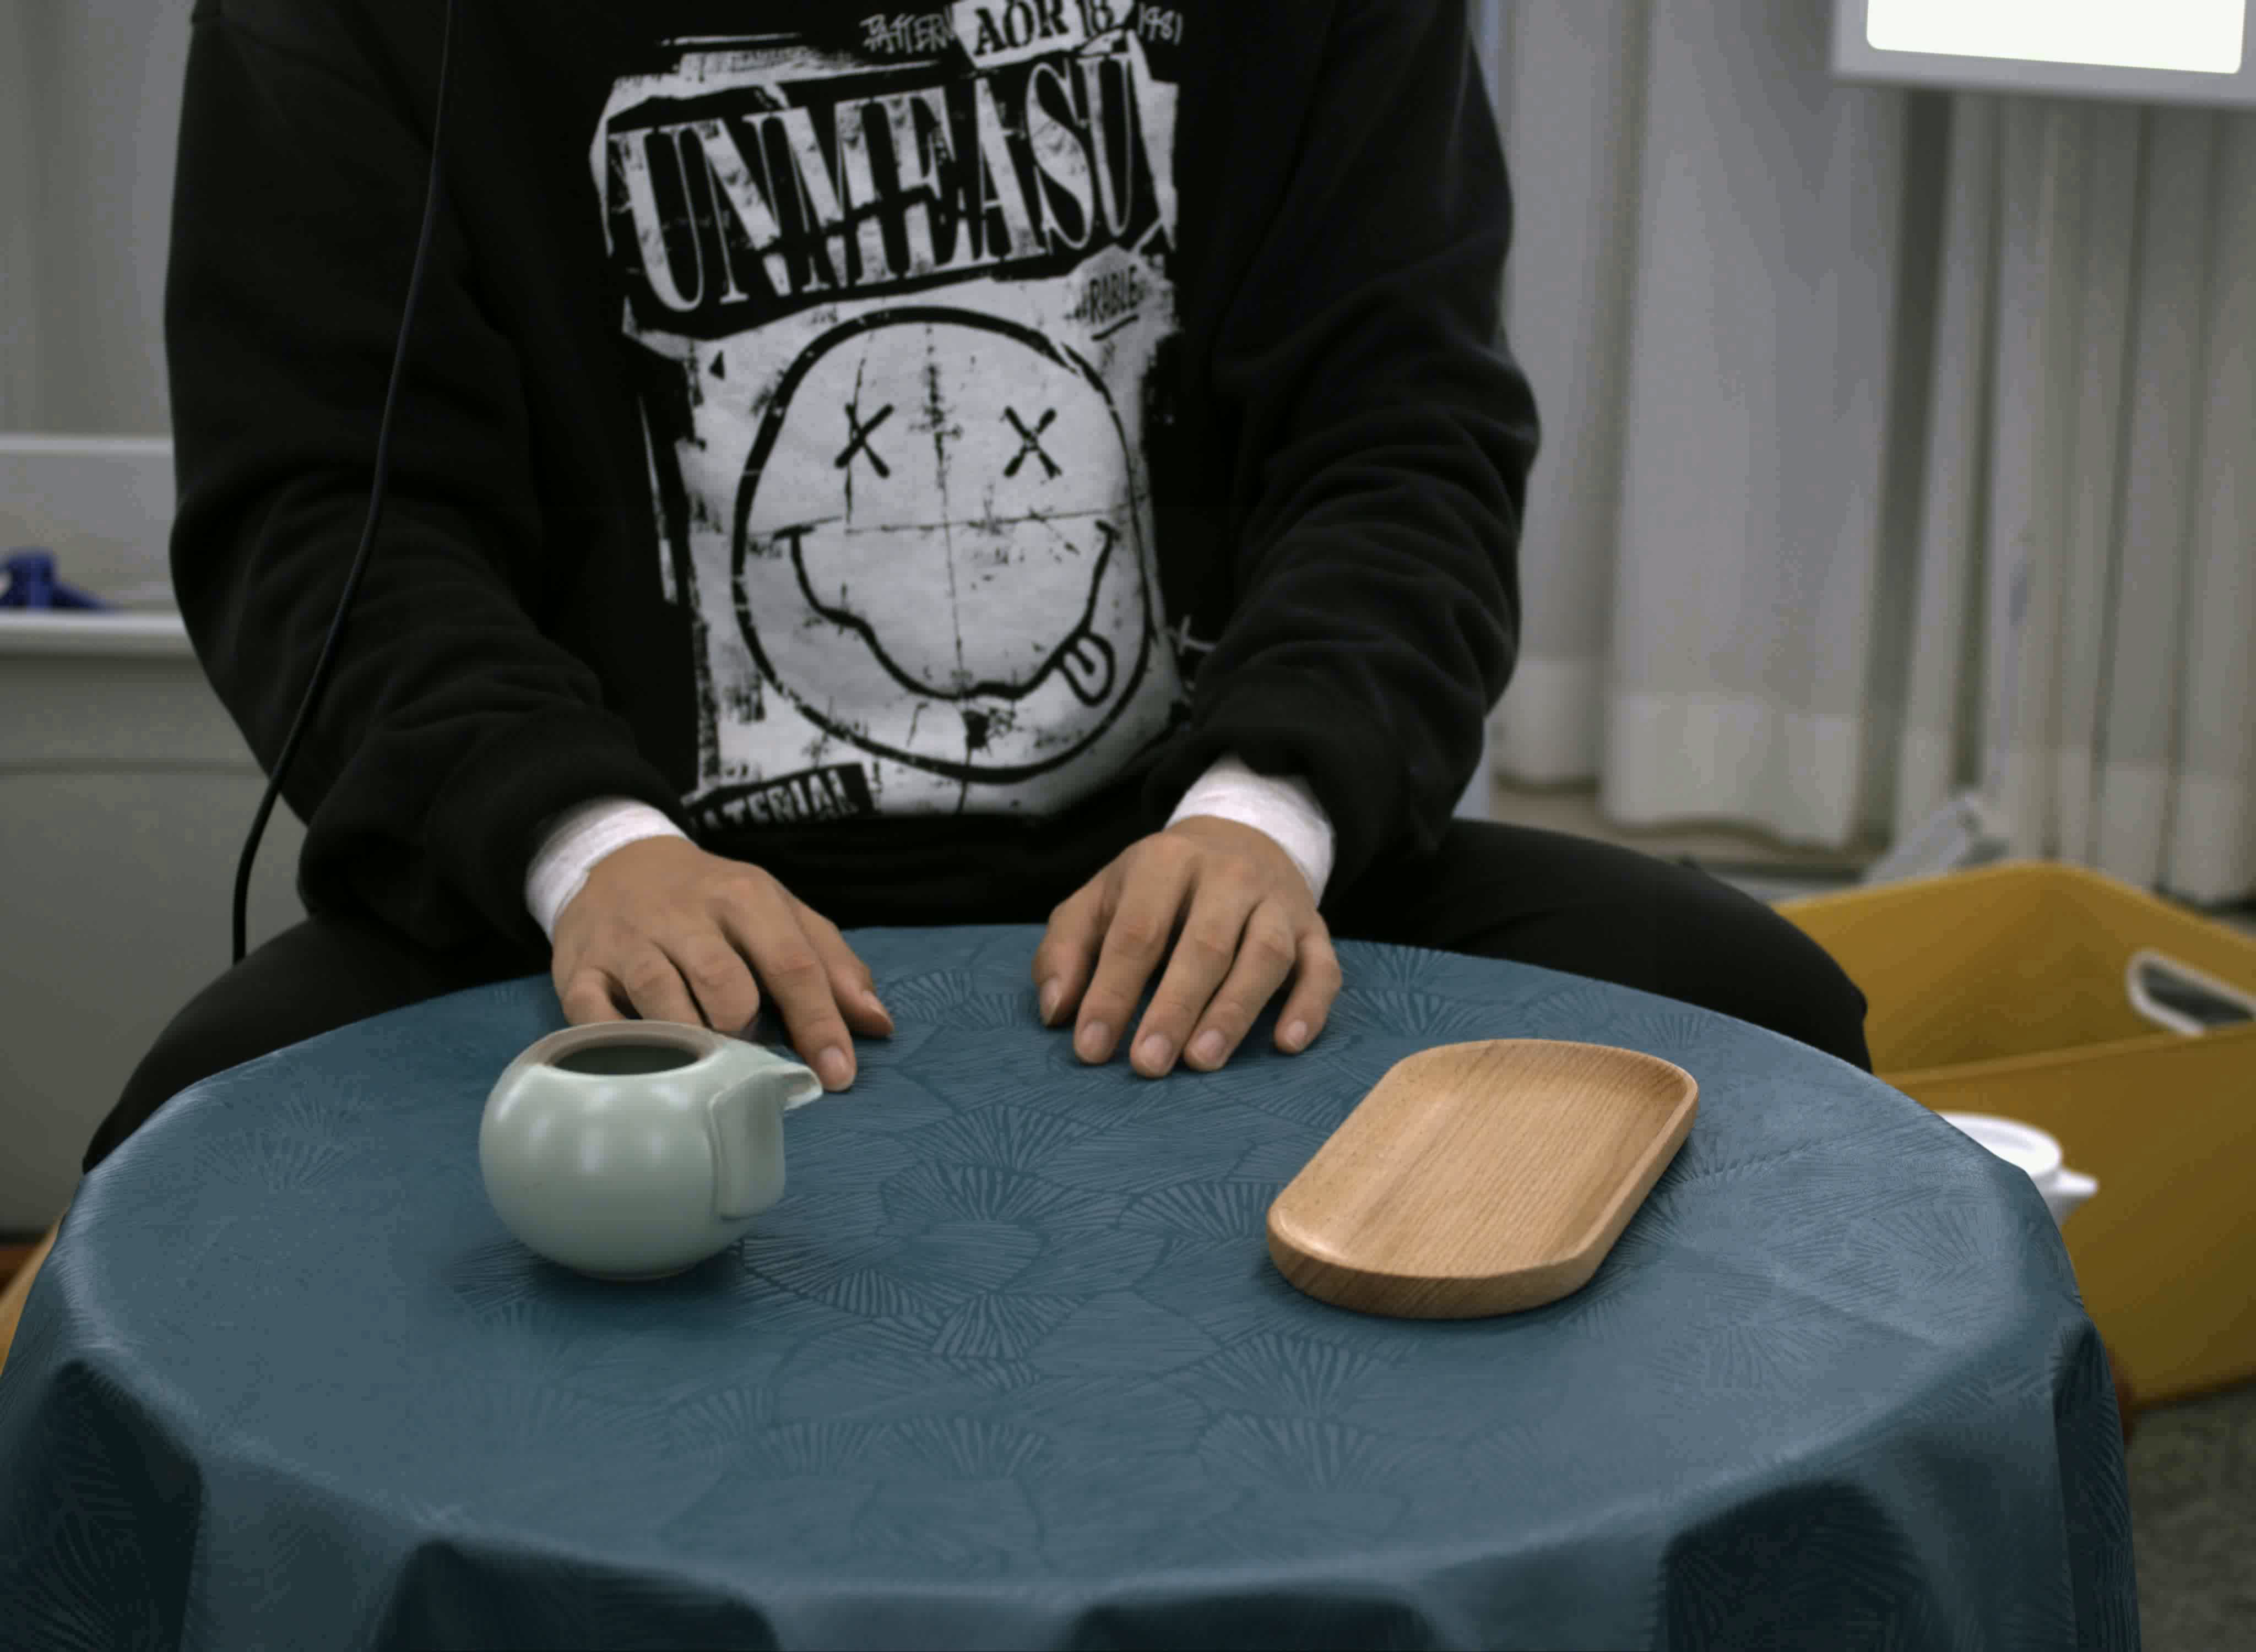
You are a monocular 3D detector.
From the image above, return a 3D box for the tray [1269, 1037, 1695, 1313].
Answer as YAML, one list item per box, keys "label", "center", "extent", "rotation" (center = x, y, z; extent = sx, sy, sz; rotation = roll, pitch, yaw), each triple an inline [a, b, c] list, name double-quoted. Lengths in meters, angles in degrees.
- label: "tray"
  center: [0.111, 0.105, 1.623]
  extent: [0.101, 0.020, 0.231]
  rotation: [7, 15, 16]

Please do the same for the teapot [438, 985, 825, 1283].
- label: "teapot"
  center: [-0.147, 0.093, 1.552]
  extent: [0.142, 0.075, 0.089]
  rotation: [13, 19, 35]
